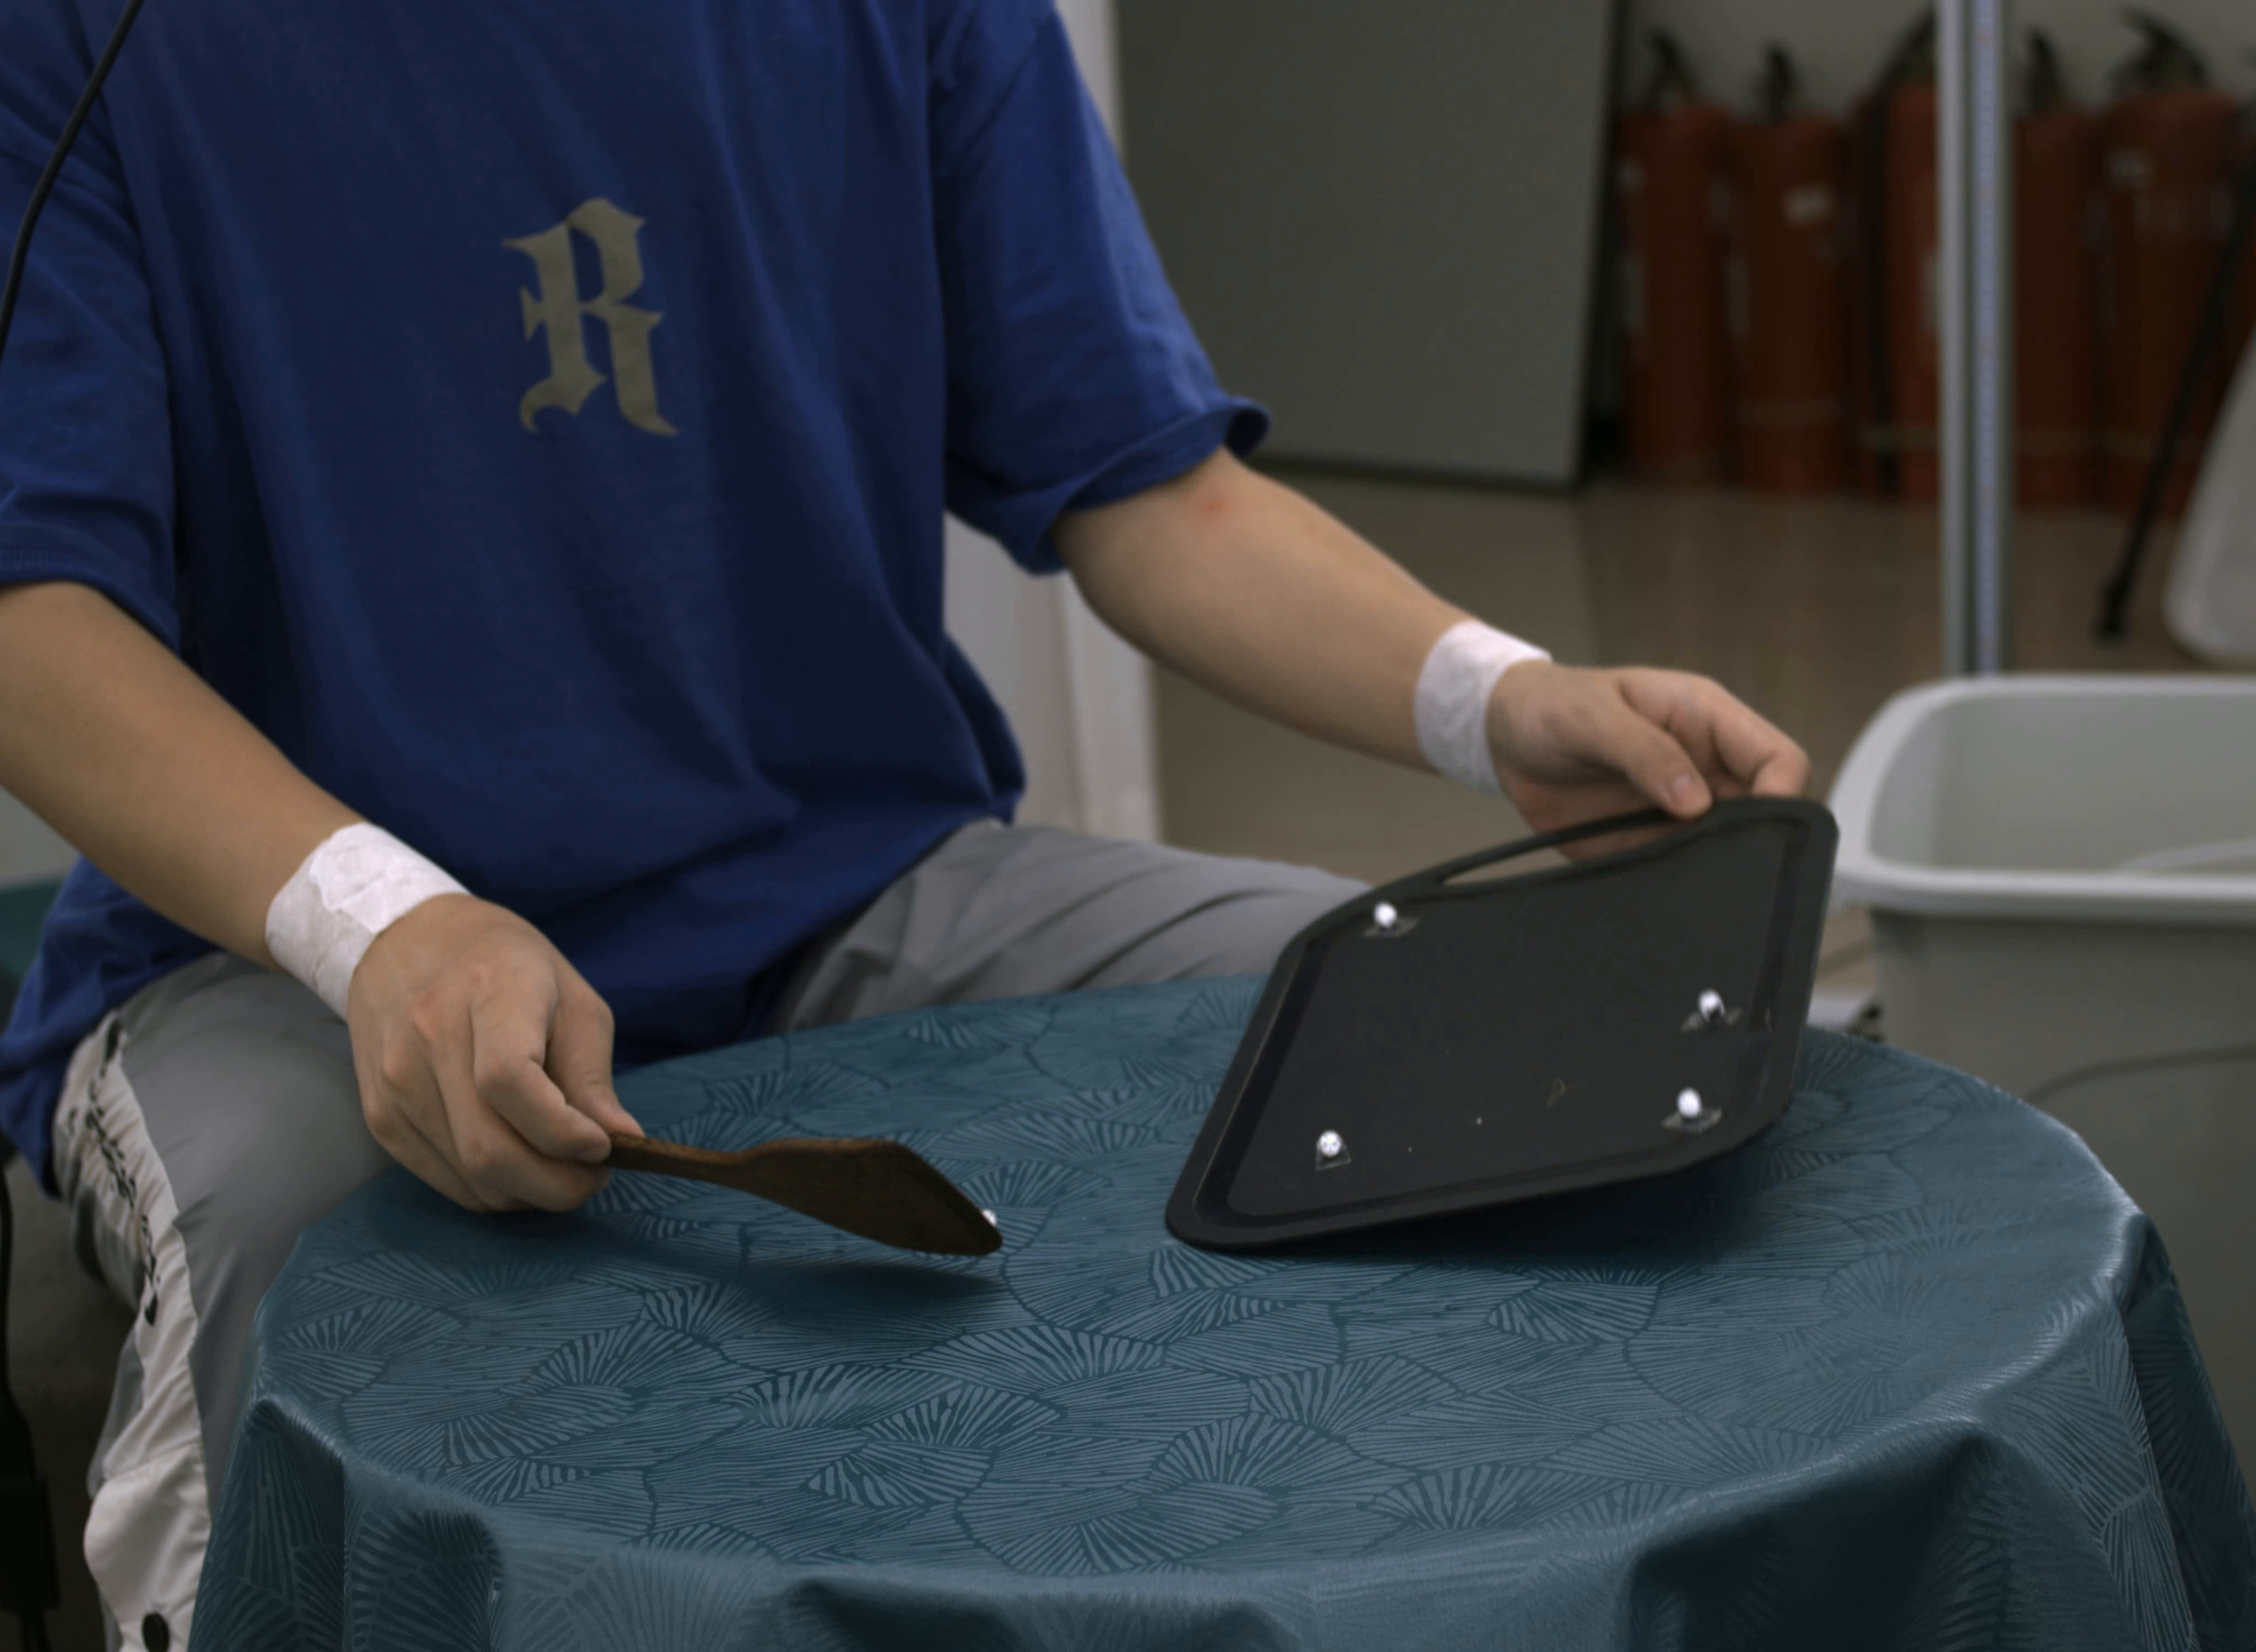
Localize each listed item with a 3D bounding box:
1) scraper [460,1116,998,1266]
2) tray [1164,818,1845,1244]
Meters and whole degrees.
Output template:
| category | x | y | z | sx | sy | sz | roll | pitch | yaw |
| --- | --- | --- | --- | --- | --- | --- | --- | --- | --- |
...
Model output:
| category | x | y | z | sx | sy | sz | roll | pitch | yaw |
| --- | --- | --- | --- | --- | --- | --- | --- | --- | --- |
| scraper | -0.135 | 0.111 | 1.729 | 0.213 | 0.075 | 0.011 | 5 | 60 | 39 |
| tray | 0.133 | 0.062 | 1.822 | 0.210 | 0.010 | 0.324 | -11 | 18 | 17 |
